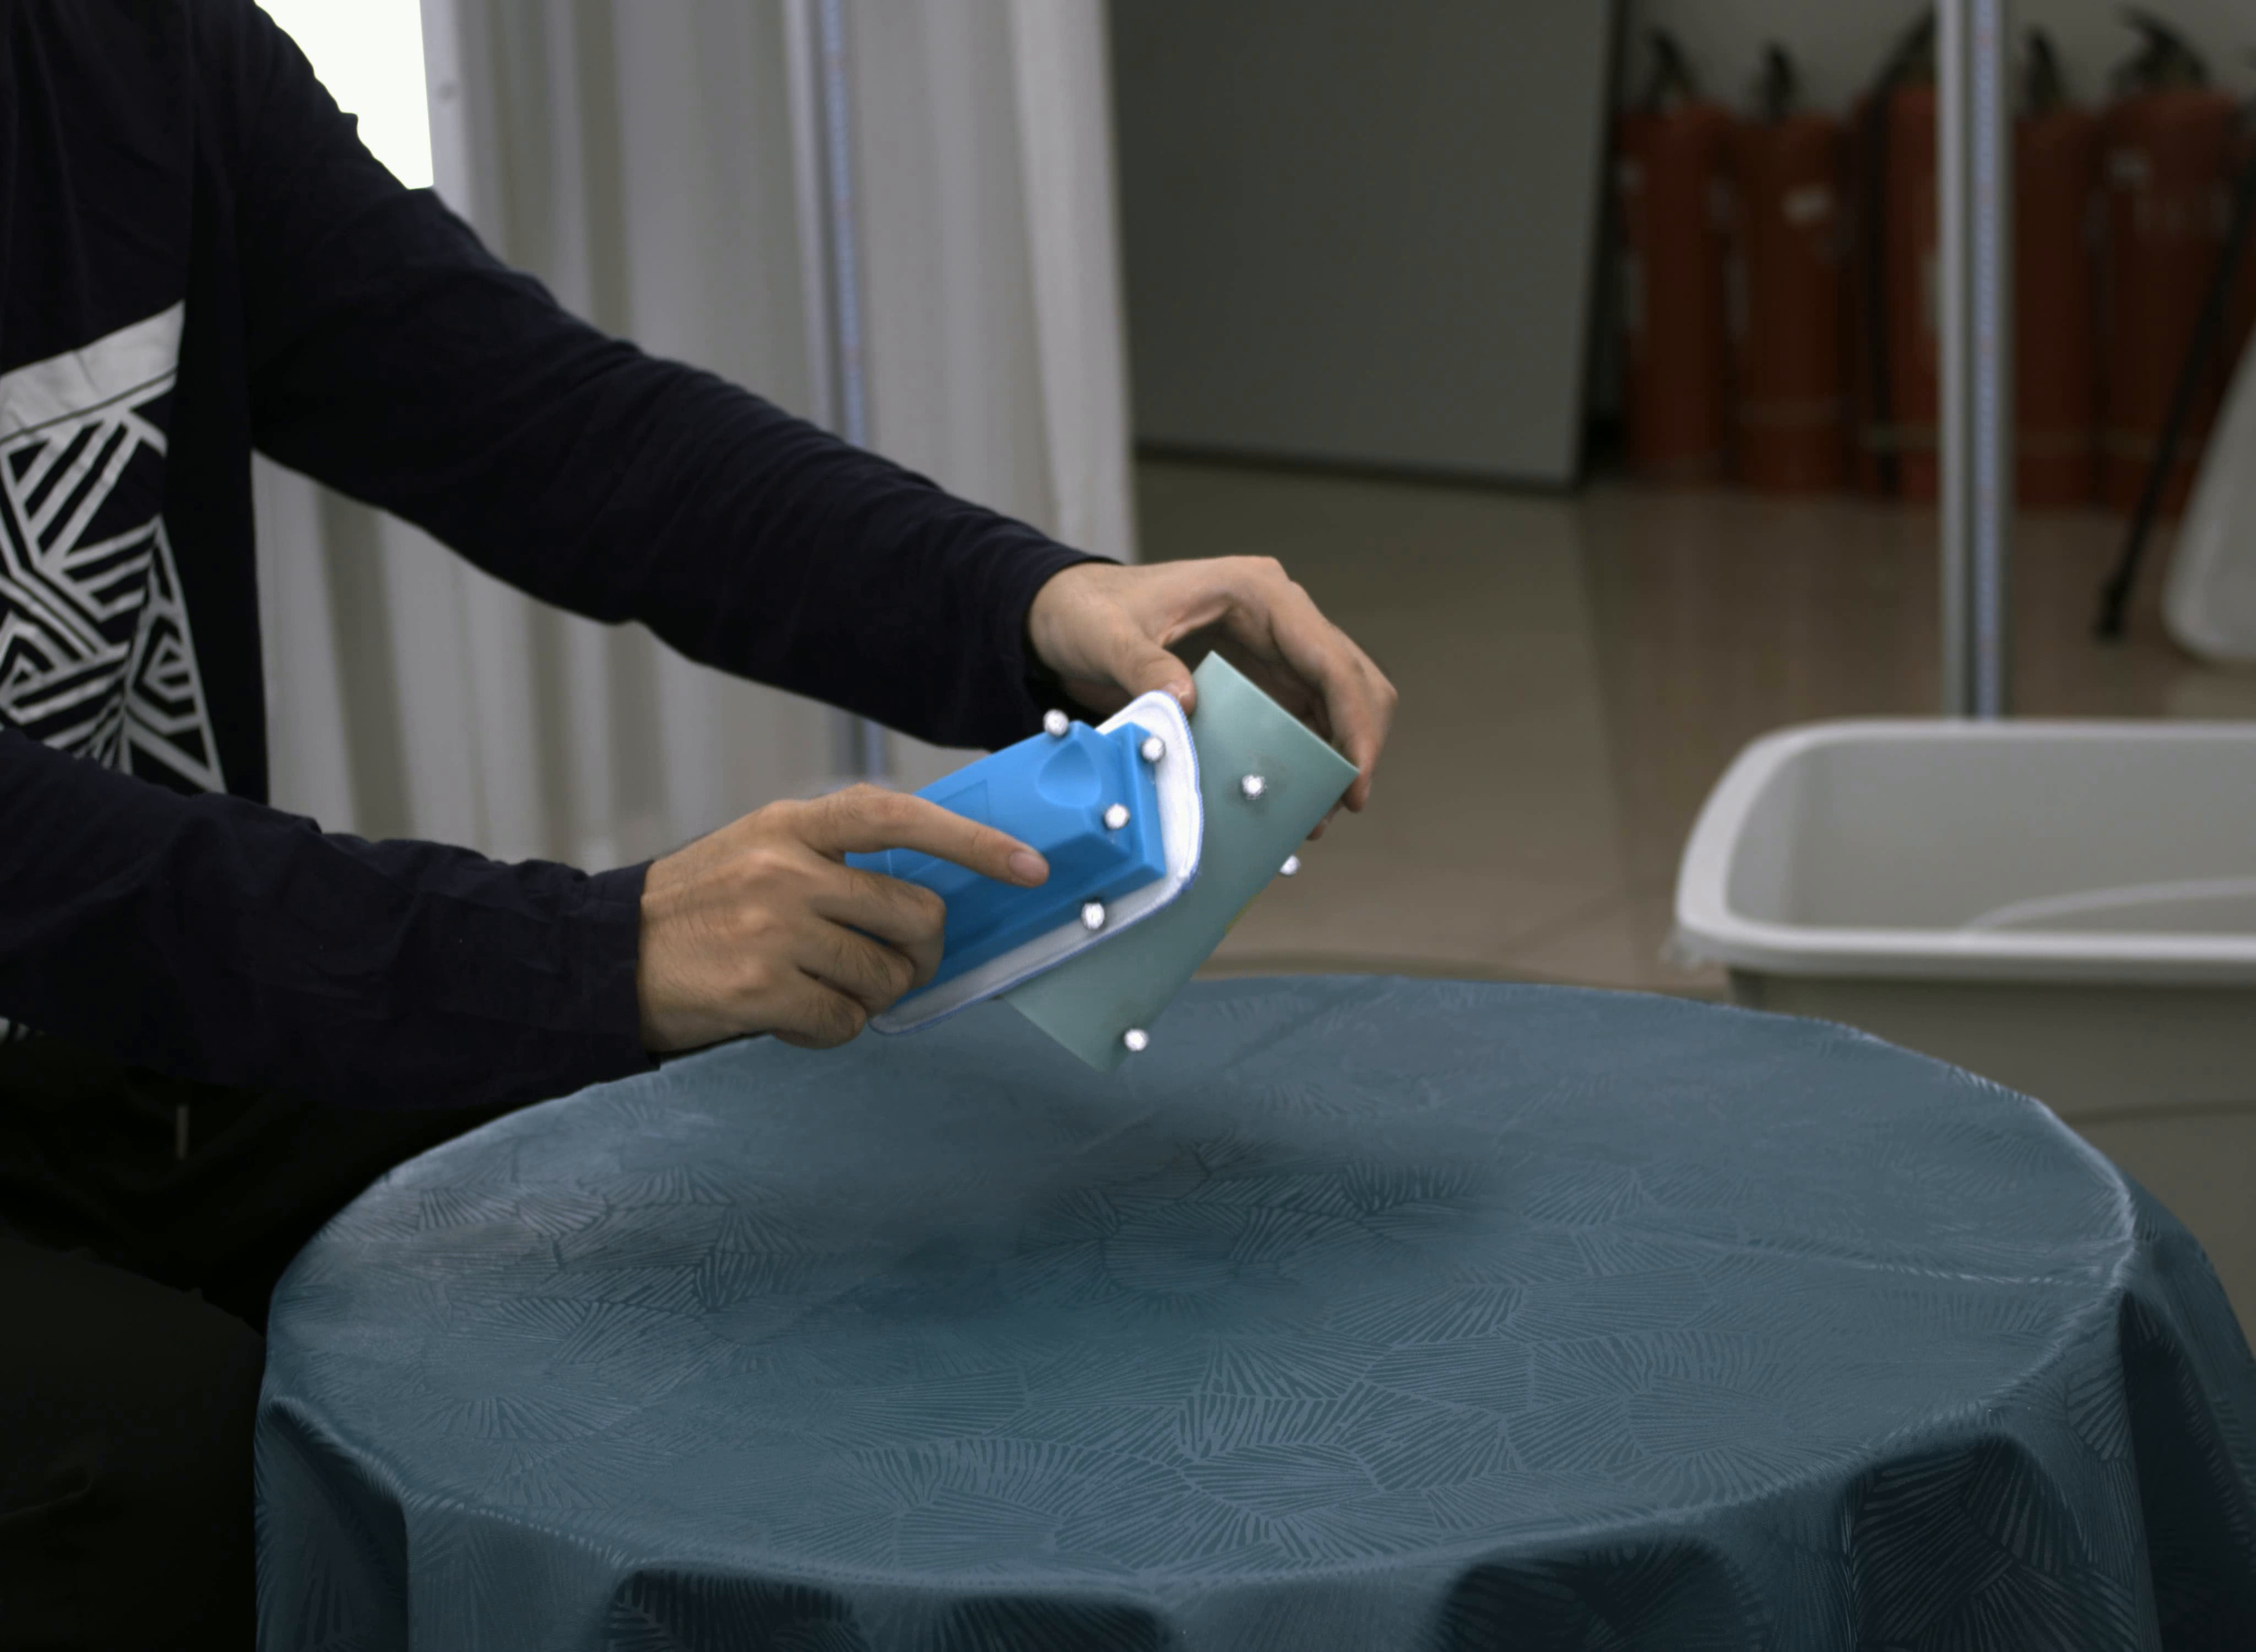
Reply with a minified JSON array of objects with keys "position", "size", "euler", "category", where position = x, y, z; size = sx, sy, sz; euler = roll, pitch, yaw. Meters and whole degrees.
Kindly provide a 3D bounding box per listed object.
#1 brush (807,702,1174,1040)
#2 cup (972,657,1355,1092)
[{"position":[-0.051,0.008,1.734],"size":[0.144,0.085,0.055],"euler":[-25,-42,29],"category":"brush"},{"position":[0.010,0.015,1.766],"size":[0.066,0.133,0.067],"euler":[37,6,-5],"category":"cup"}]
